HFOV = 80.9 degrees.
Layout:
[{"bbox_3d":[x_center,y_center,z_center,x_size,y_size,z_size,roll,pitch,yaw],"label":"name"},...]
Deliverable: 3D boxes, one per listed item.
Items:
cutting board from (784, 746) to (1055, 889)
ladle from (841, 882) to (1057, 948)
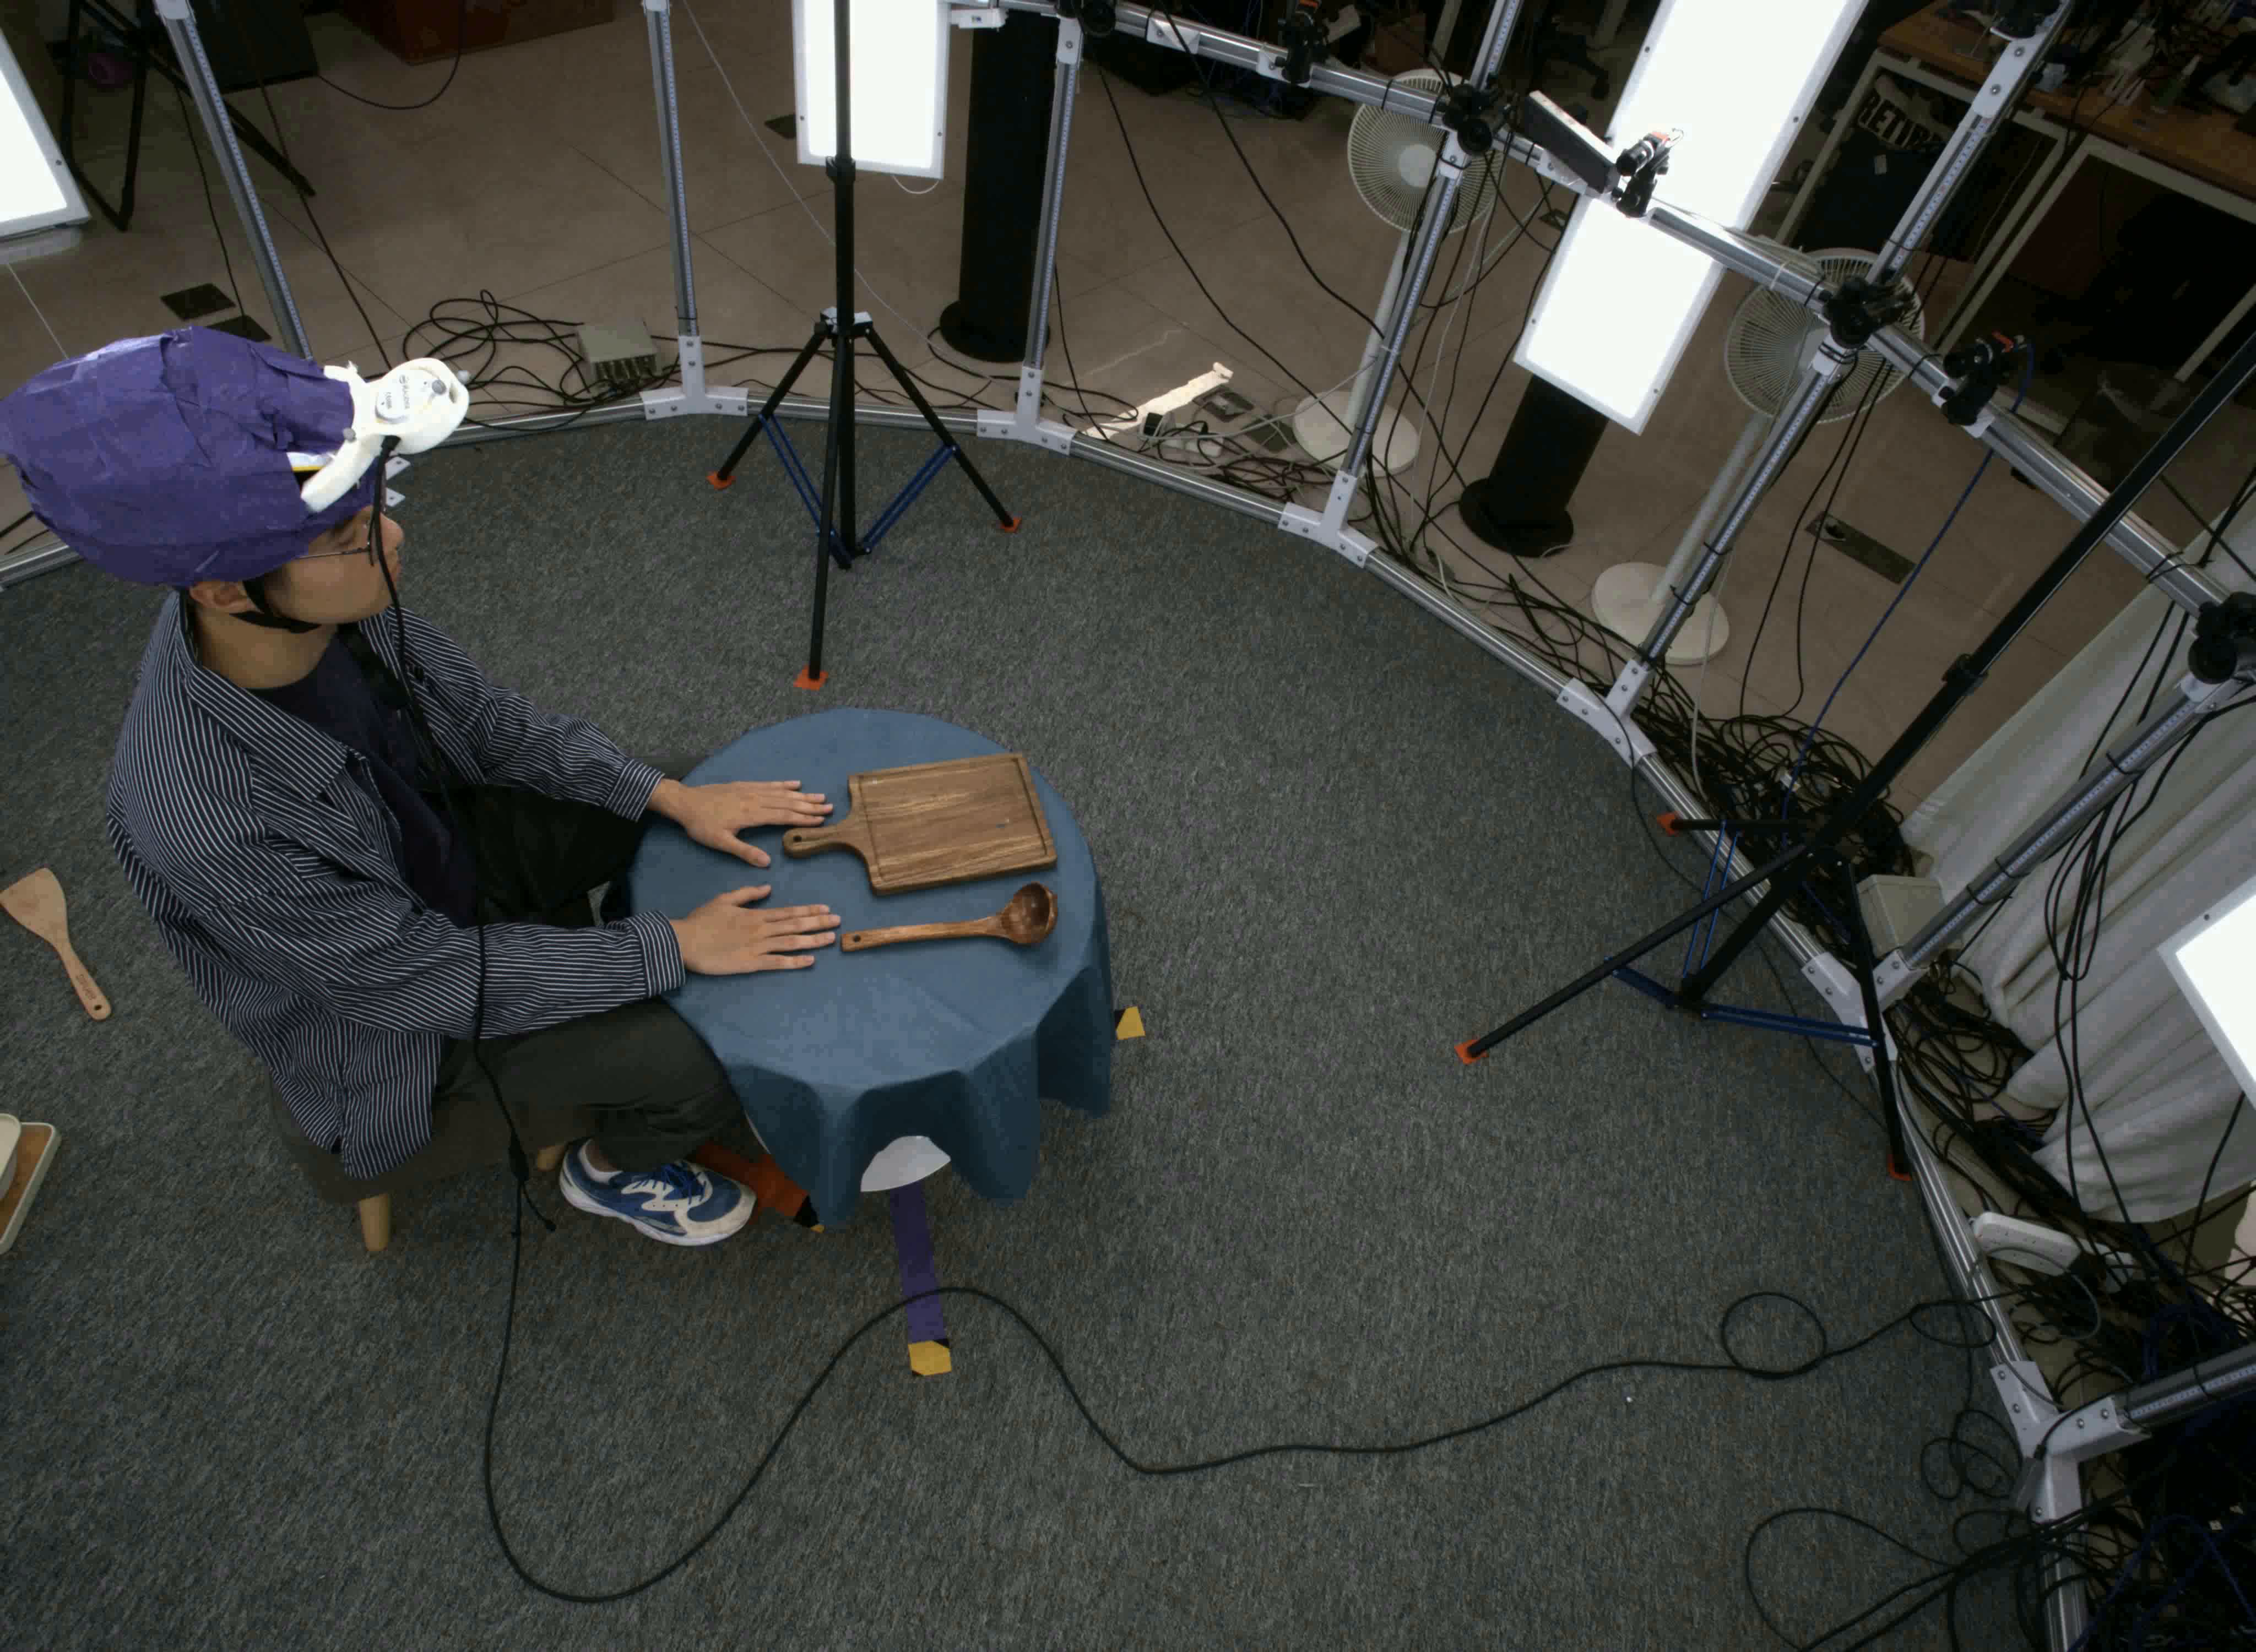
[{"bbox_3d":[-0.289,-0.011,1.768,0.353,0.023,0.196,-8,56,-18],"label":"cutting board"},{"bbox_3d":[-0.226,0.120,1.650,0.274,0.078,0.080,-3,58,-16],"label":"ladle"}]
